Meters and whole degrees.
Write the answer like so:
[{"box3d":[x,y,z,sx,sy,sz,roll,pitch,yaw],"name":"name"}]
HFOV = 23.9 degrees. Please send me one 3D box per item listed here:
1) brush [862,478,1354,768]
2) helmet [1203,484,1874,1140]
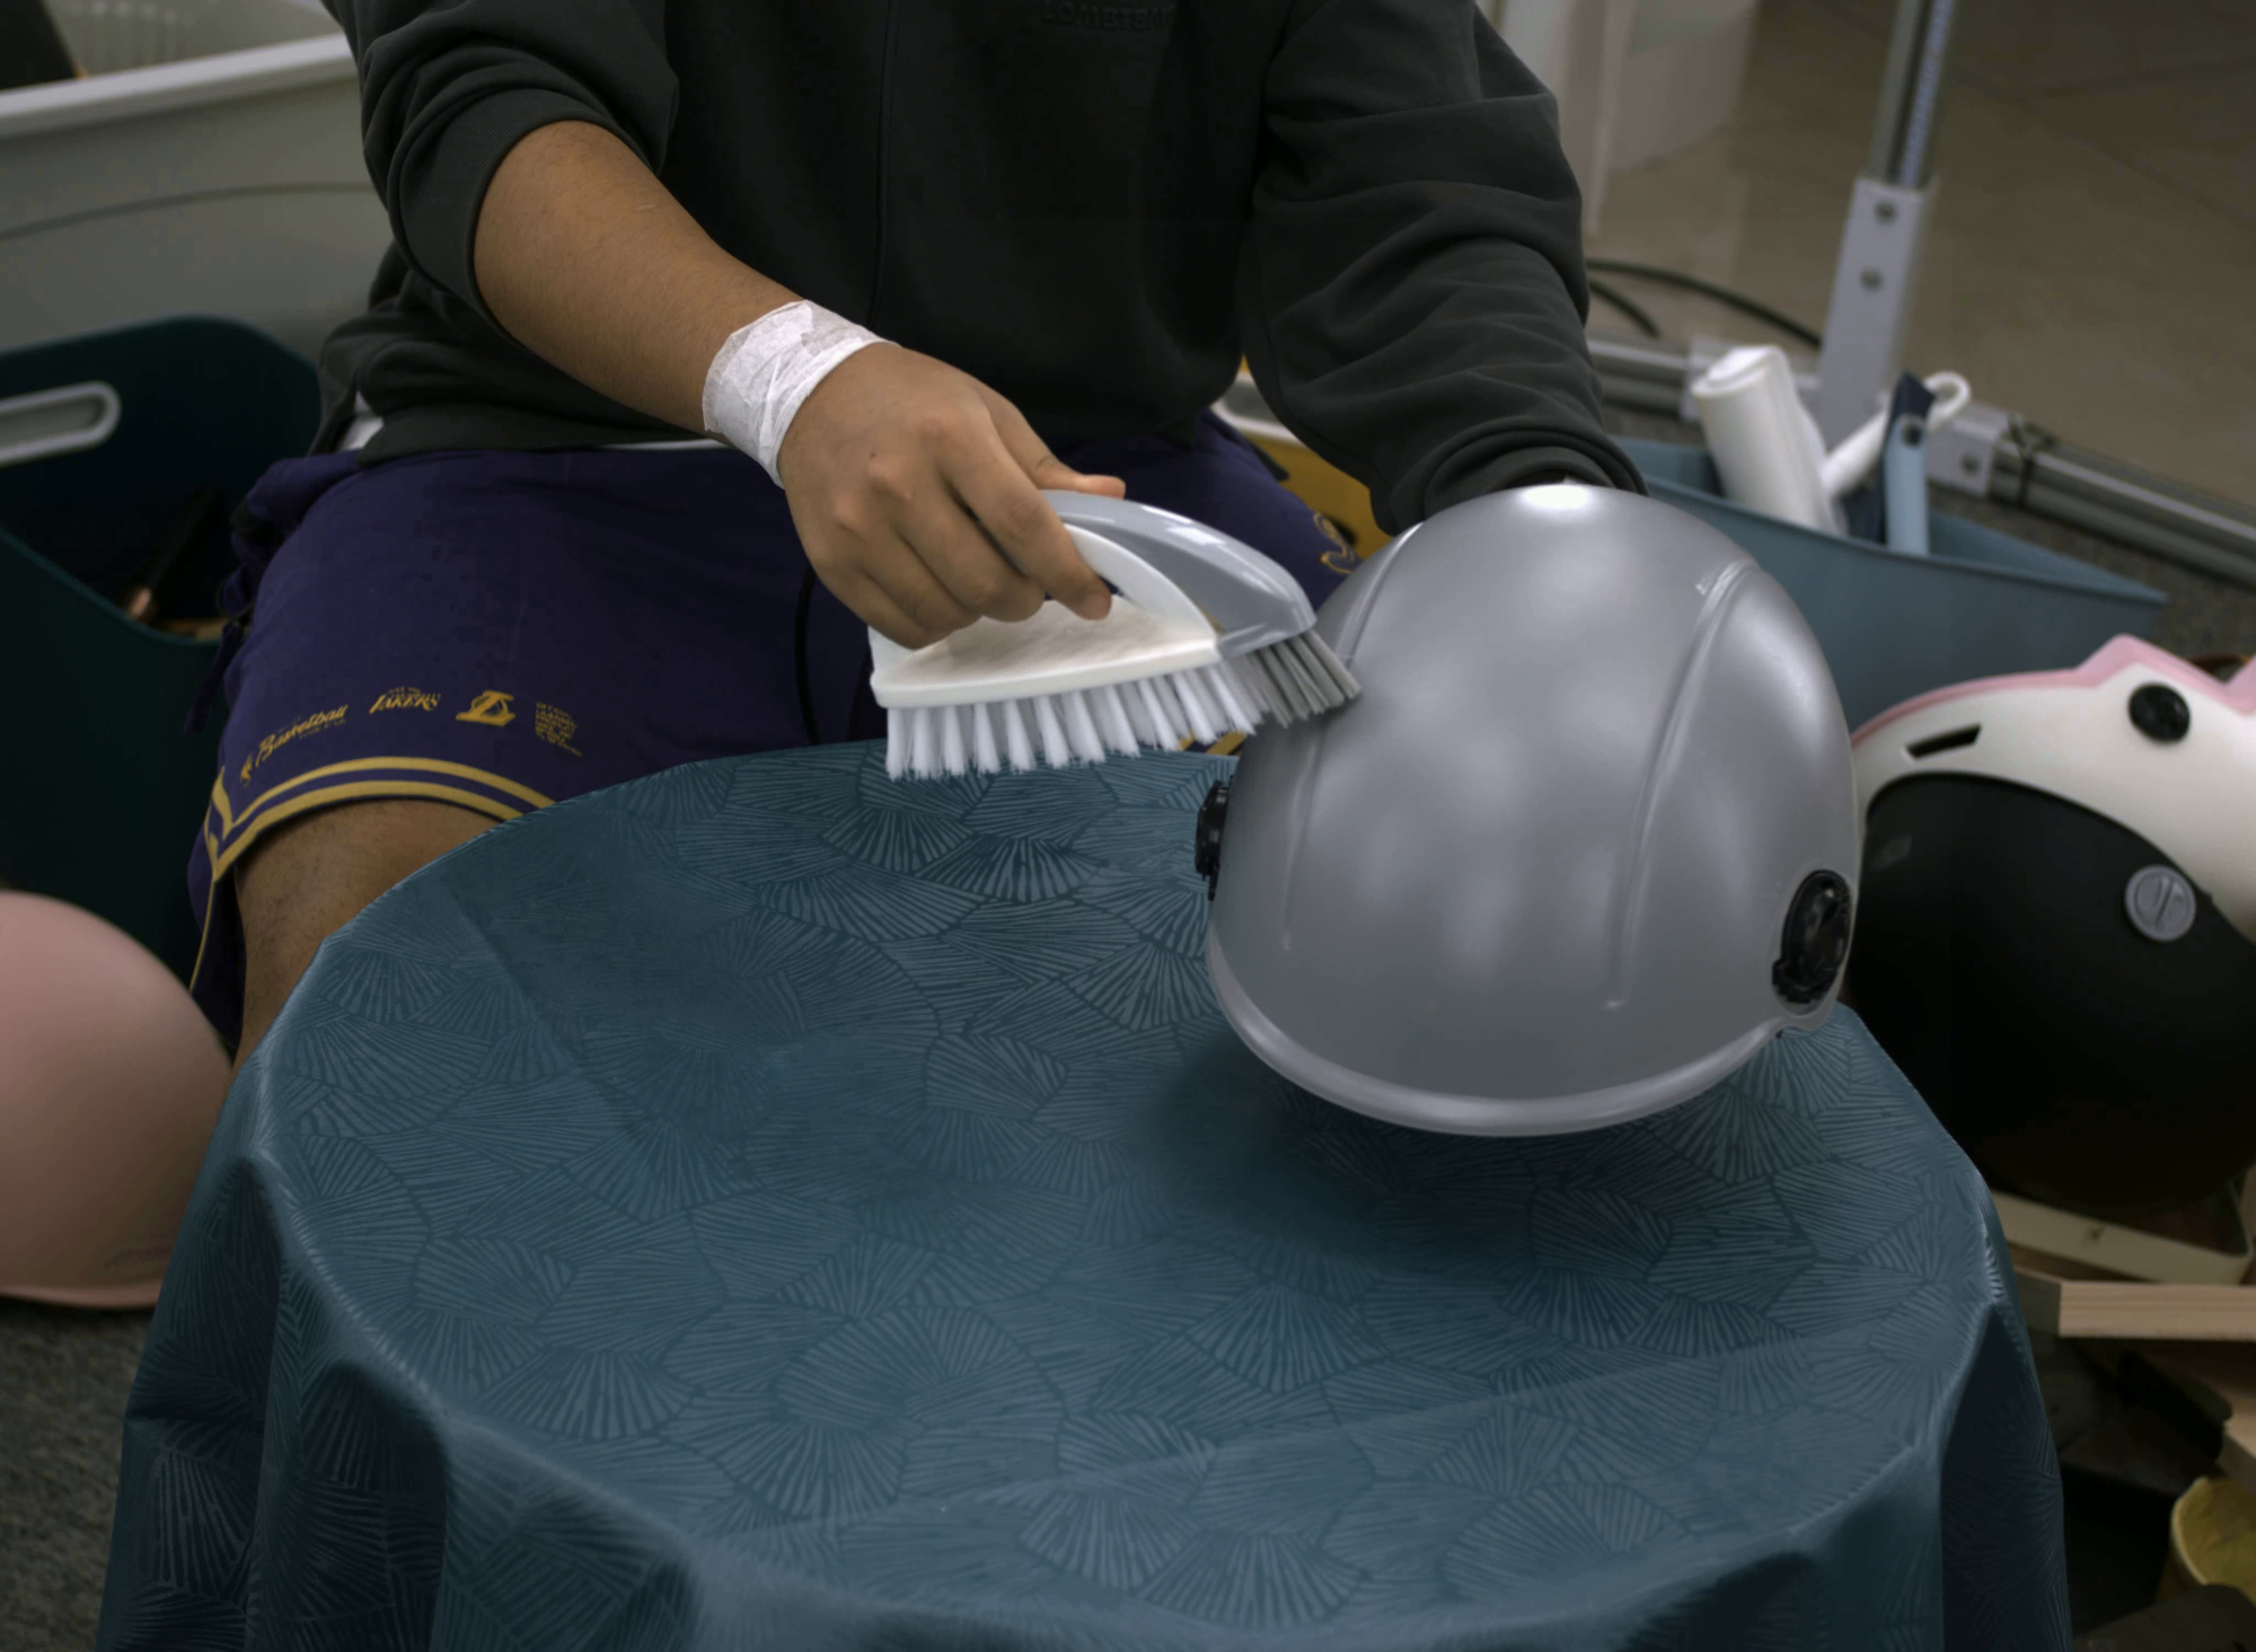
[{"box3d":[-0.012,-0.076,1.802,0.176,0.094,0.061,-3,30,31],"name":"brush"},{"box3d":[0.145,-0.024,1.835,0.232,0.168,0.276,9,26,19],"name":"helmet"}]
